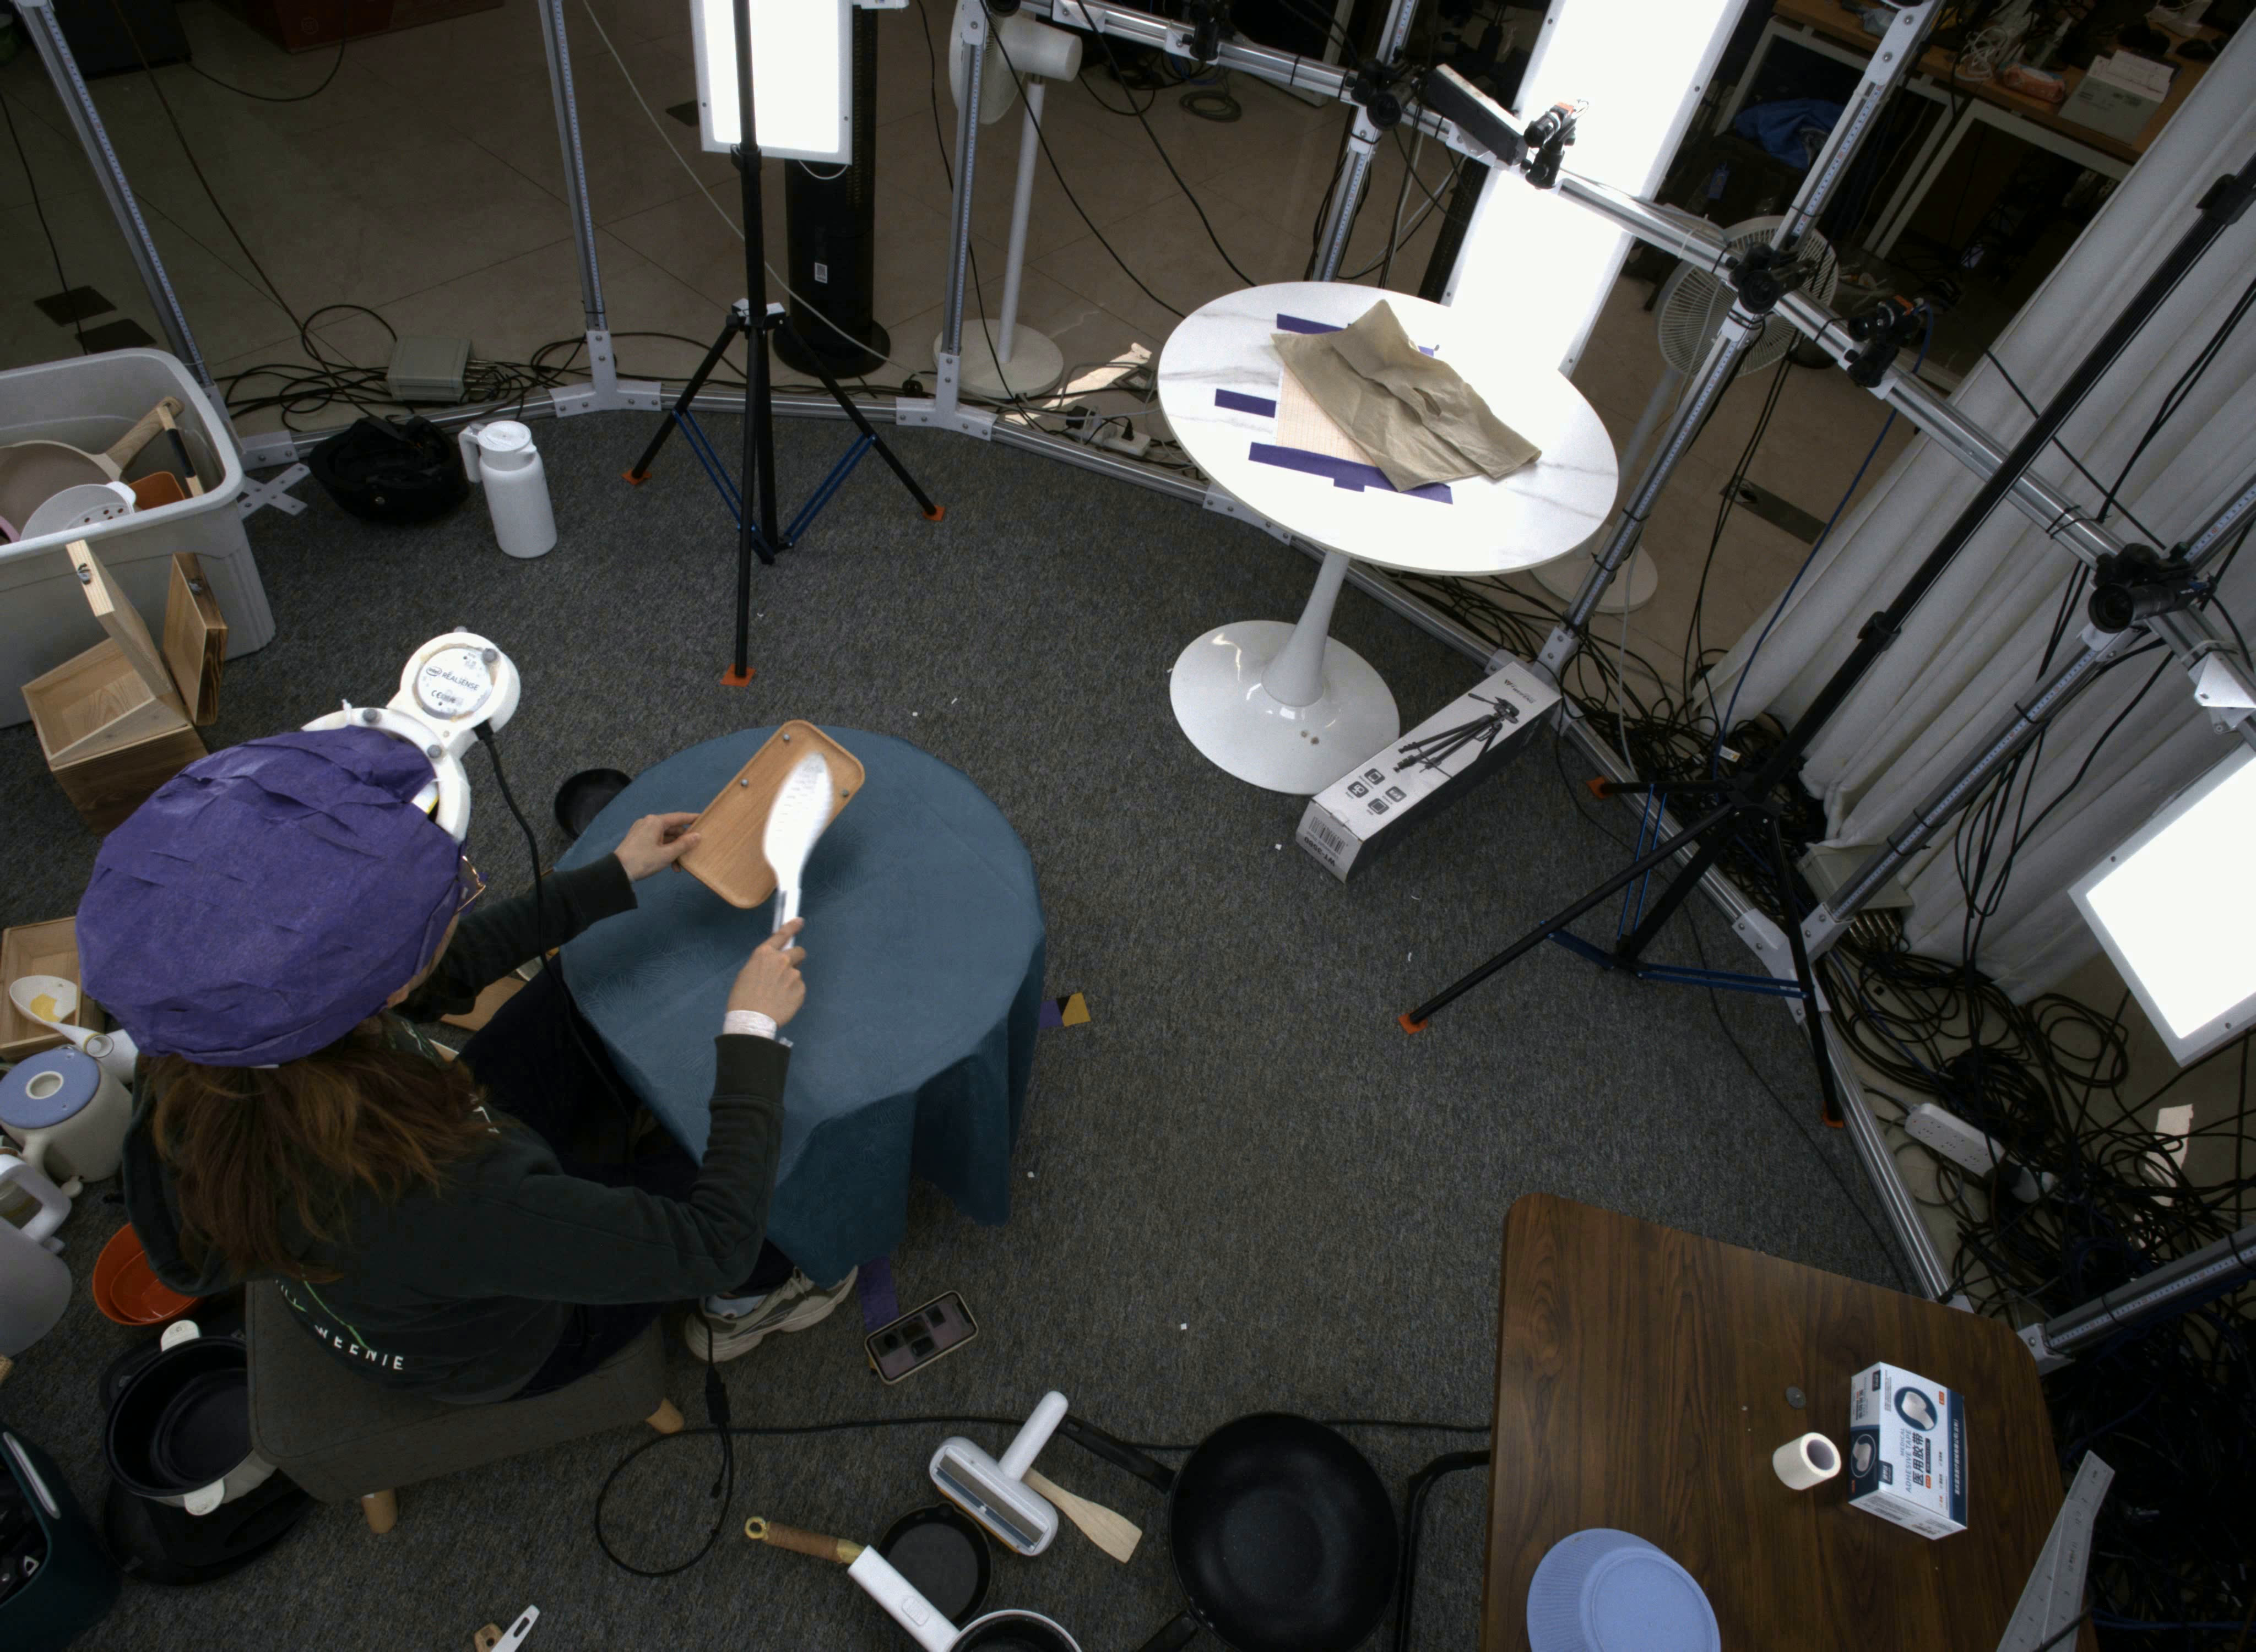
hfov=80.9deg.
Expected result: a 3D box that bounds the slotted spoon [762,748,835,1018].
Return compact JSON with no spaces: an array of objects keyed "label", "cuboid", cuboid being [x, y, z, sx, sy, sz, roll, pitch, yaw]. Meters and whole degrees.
[{"label":"slotted spoon","cuboid":[-0.376,0.057,1.447,0.047,0.135,0.343,26,42,-25]}]

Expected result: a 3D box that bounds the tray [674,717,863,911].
[{"label":"tray","cuboid":[-0.445,-0.018,1.612,0.131,0.023,0.250,38,63,-5]}]
